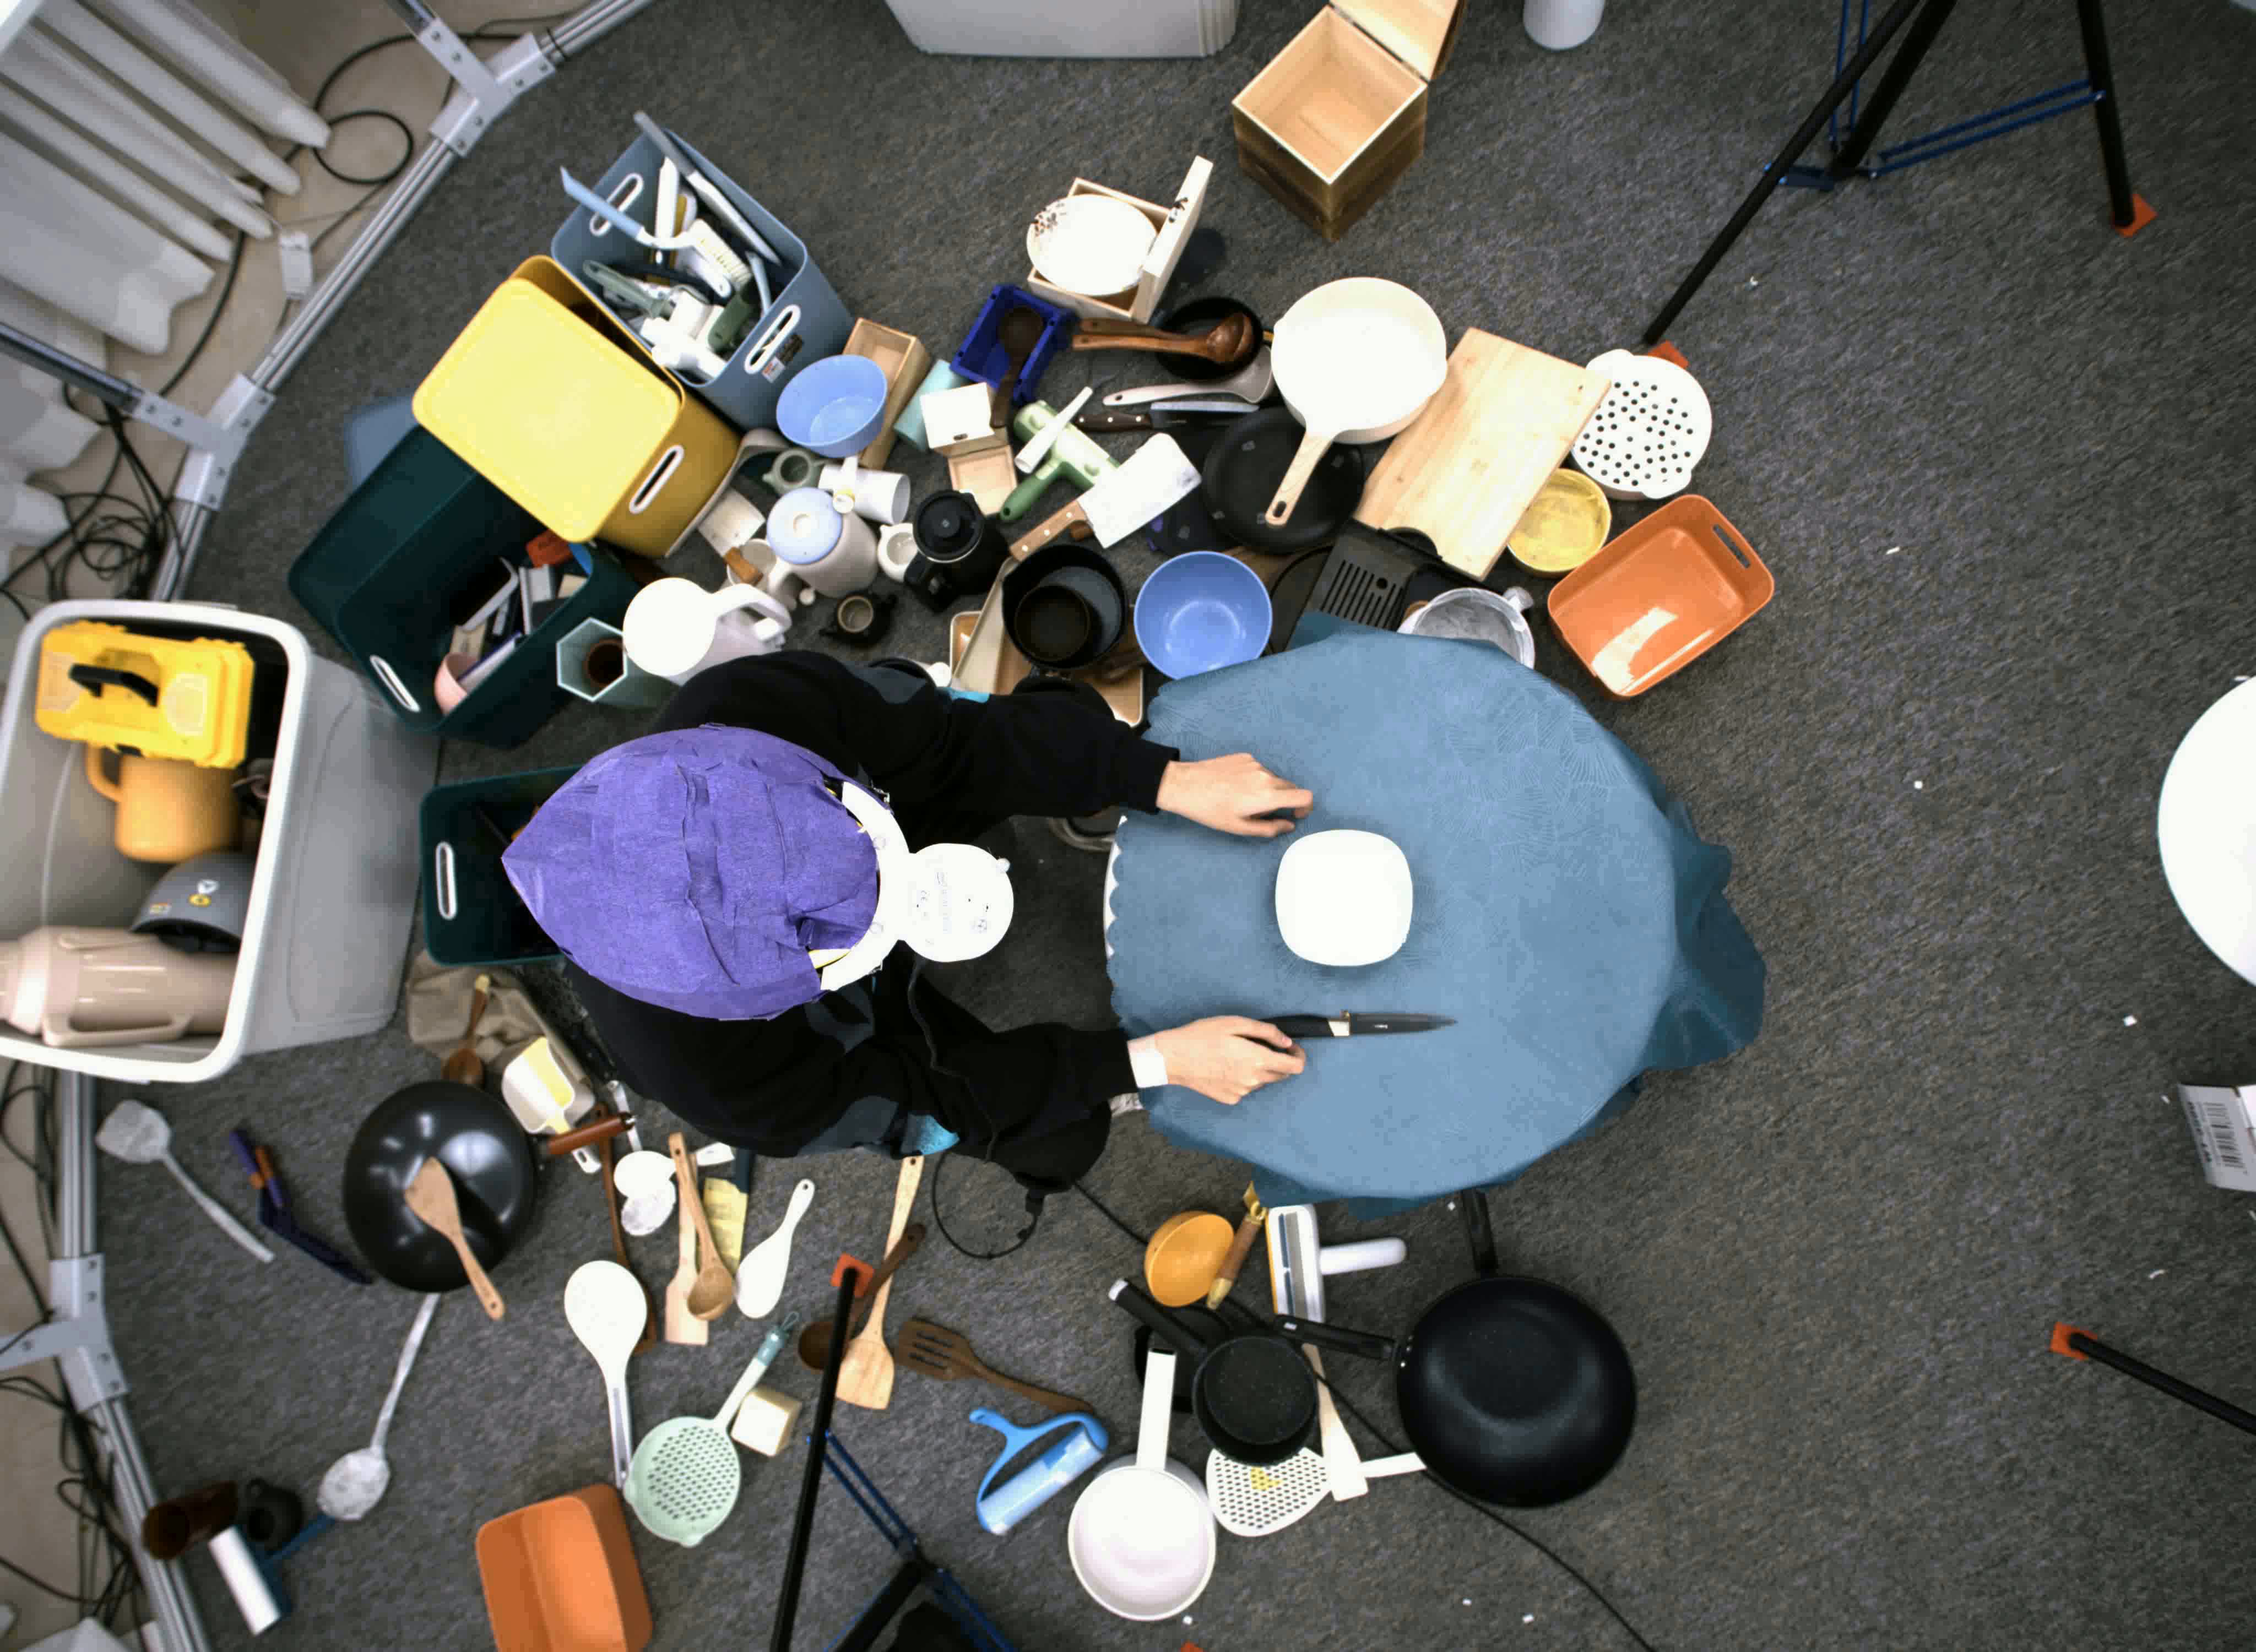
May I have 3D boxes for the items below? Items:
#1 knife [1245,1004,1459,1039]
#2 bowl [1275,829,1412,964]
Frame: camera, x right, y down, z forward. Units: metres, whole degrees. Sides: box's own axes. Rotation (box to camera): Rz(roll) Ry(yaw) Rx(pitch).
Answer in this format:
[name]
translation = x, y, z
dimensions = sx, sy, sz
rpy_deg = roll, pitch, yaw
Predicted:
[knife]
translation = 0.234, 0.204, 1.454
dimensions = 0.226, 0.017, 0.026
rpy_deg = -6, 78, 9
[bowl]
translation = 0.224, 0.073, 1.441
dimensions = 0.152, 0.058, 0.151
rpy_deg = -1, 88, 10
